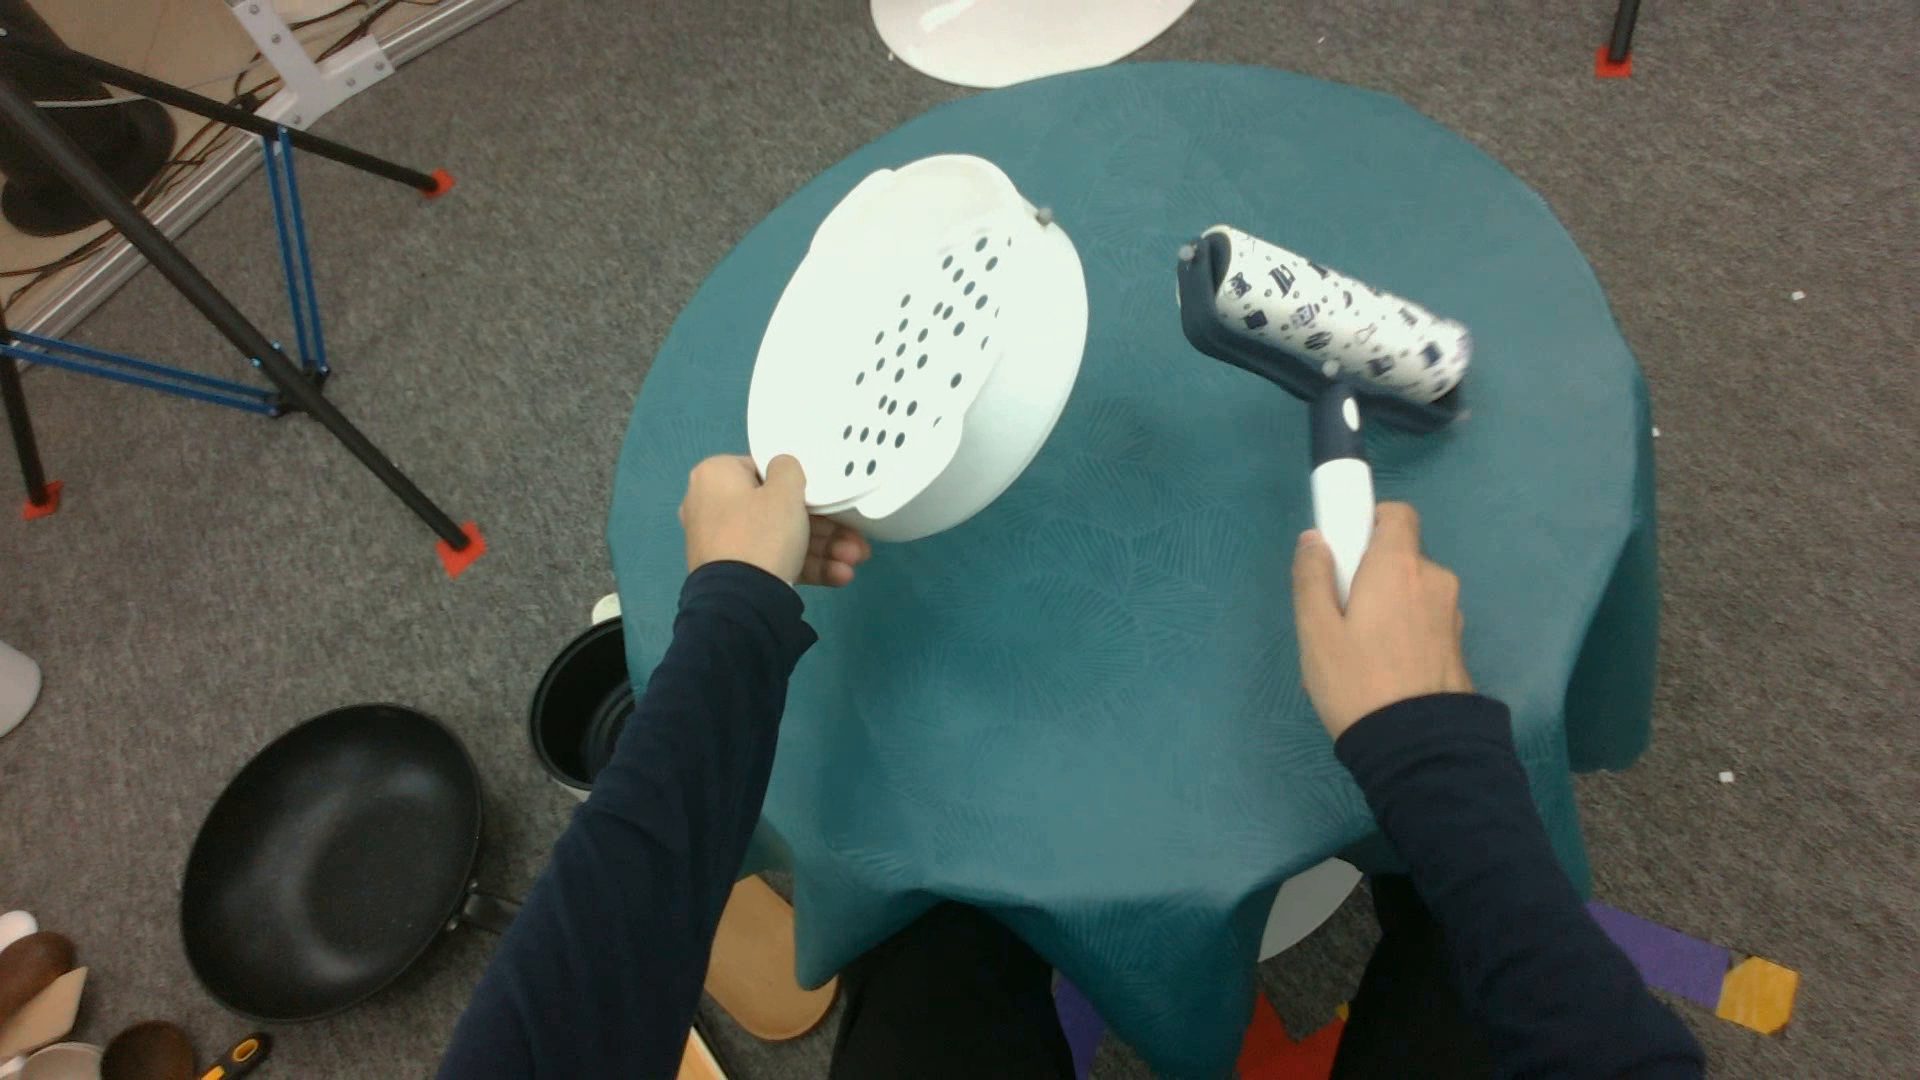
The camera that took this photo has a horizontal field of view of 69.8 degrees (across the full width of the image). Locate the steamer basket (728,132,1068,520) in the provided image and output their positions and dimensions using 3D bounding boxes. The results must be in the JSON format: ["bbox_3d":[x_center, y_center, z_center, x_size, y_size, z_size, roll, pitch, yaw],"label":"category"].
[{"bbox_3d":[-0.035,-0.109,0.724,0.201,0.069,0.231,-40,47,26],"label":"steamer basket"}]

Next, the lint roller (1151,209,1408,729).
[{"bbox_3d":[0.174,-0.030,0.671,0.050,0.176,0.248,-30,53,41],"label":"lint roller"}]
